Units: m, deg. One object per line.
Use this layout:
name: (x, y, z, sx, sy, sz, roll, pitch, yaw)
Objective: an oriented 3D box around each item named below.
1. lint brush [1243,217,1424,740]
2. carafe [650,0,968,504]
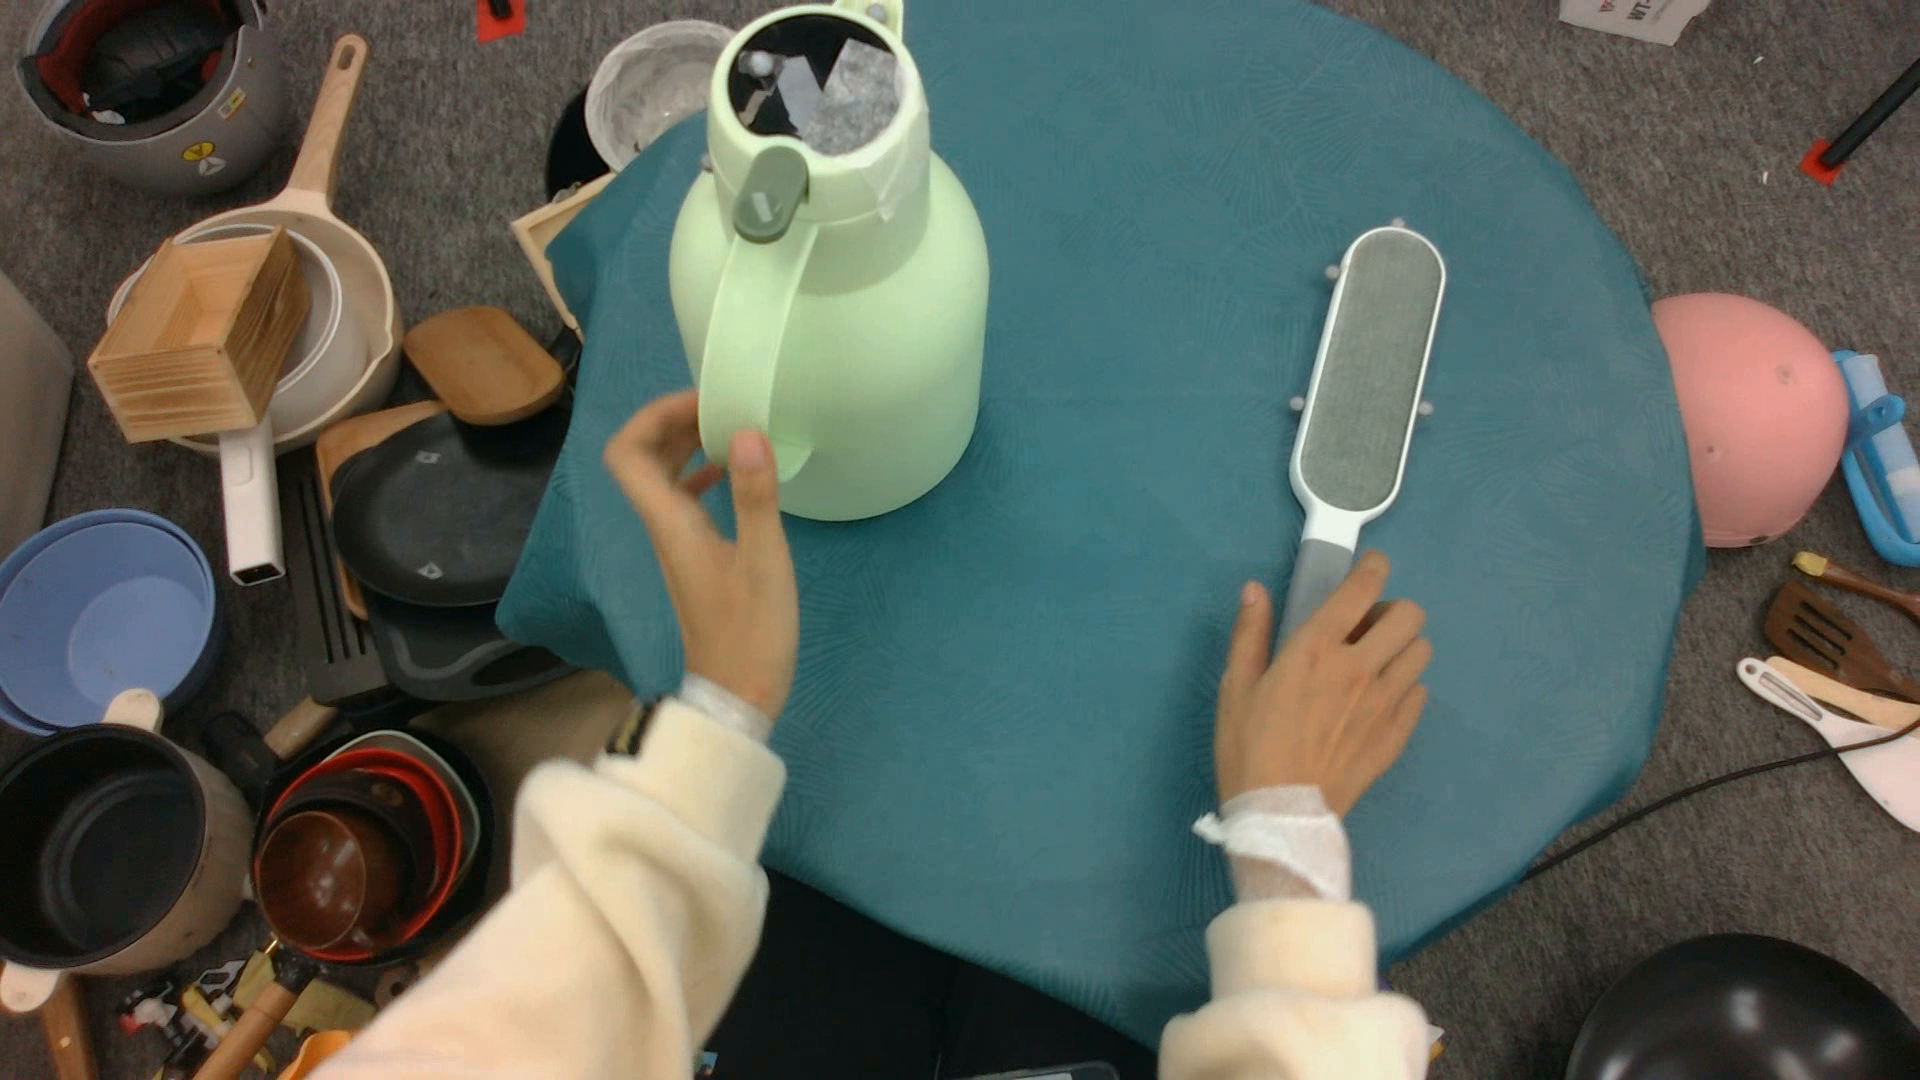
lint brush: (0.191, -0.042, 0.721, 0.060, 0.021, 0.310, 18, 69, 1)
carafe: (-0.071, -0.110, 0.611, 0.144, 0.256, 0.187, 18, 72, 2)
